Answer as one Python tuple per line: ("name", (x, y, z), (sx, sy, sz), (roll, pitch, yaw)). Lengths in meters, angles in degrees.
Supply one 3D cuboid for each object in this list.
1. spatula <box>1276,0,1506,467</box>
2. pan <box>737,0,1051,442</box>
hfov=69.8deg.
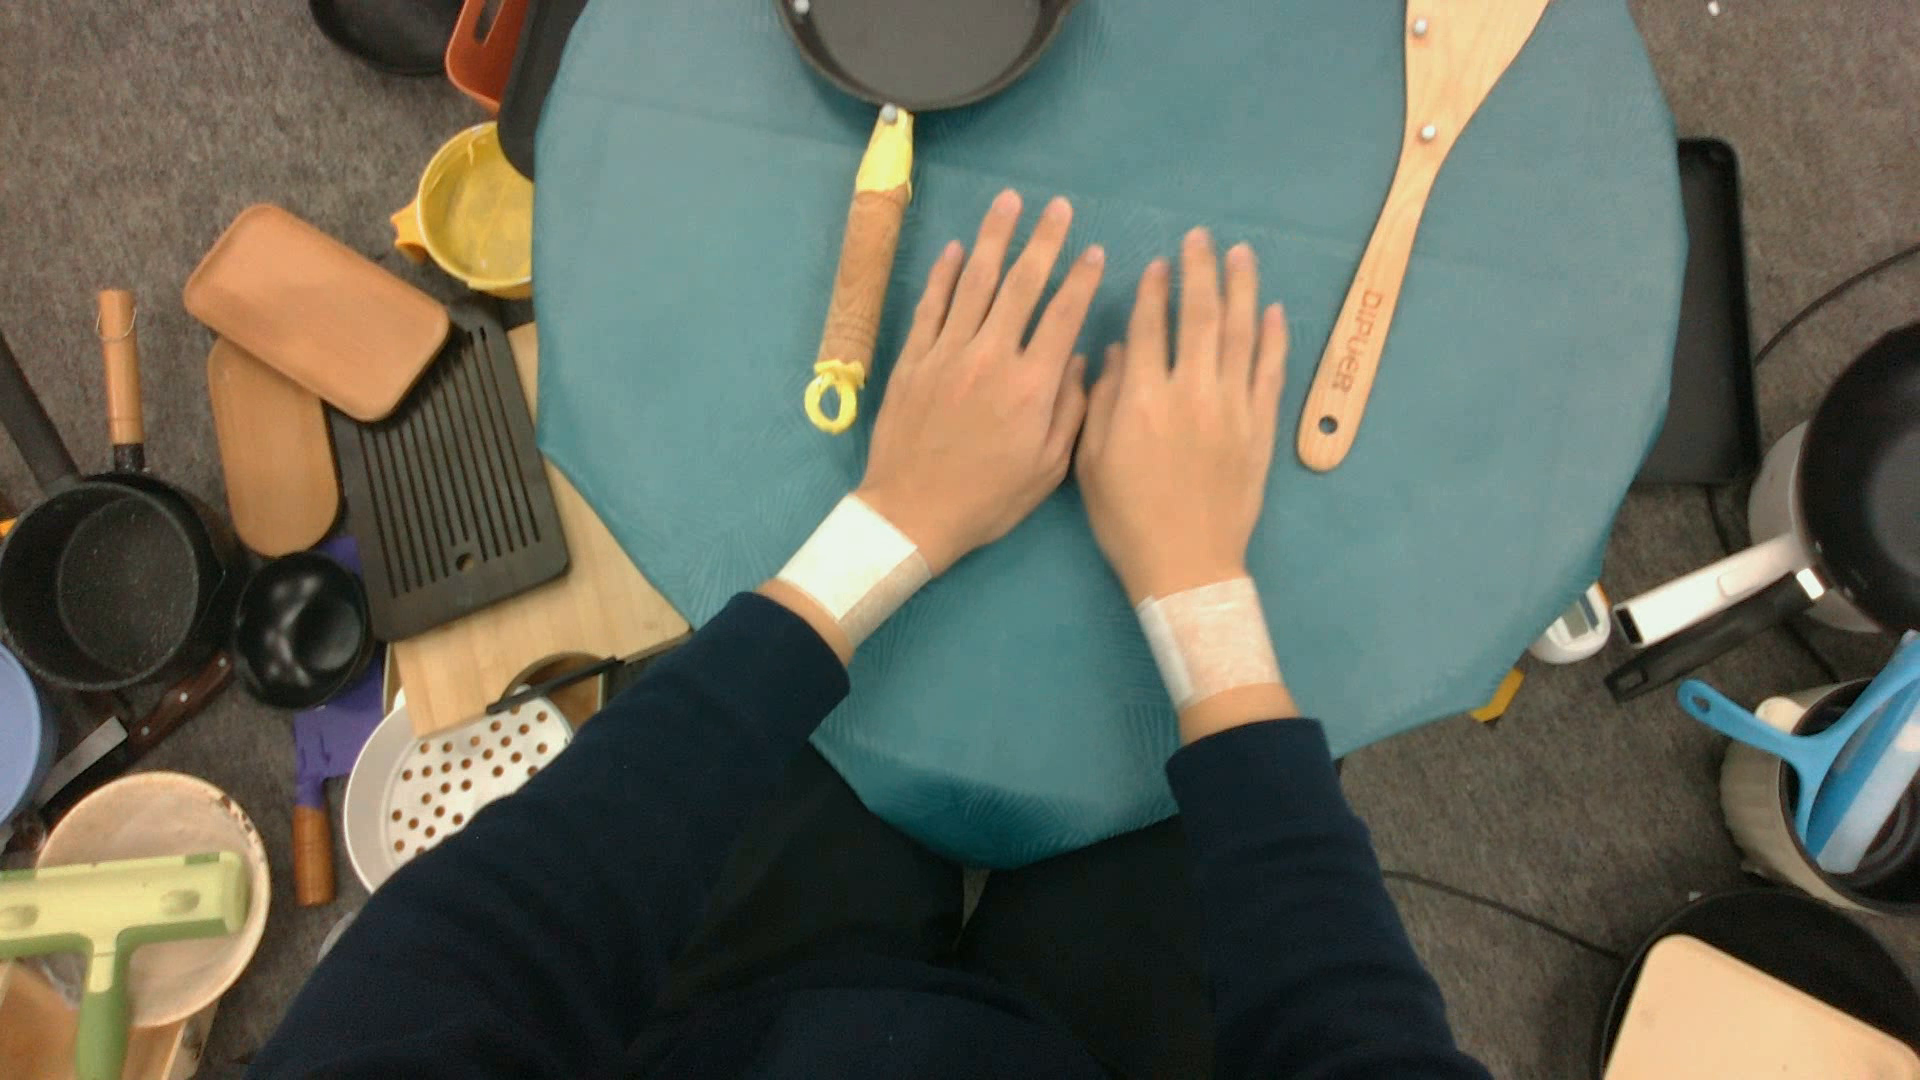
("spatula", (0.220, -0.193, 0.721), (0.080, 0.016, 0.328), (18, 81, 4))
("pan", (-0.051, -0.204, 0.705), (0.169, 0.049, 0.325), (10, 79, 2))
